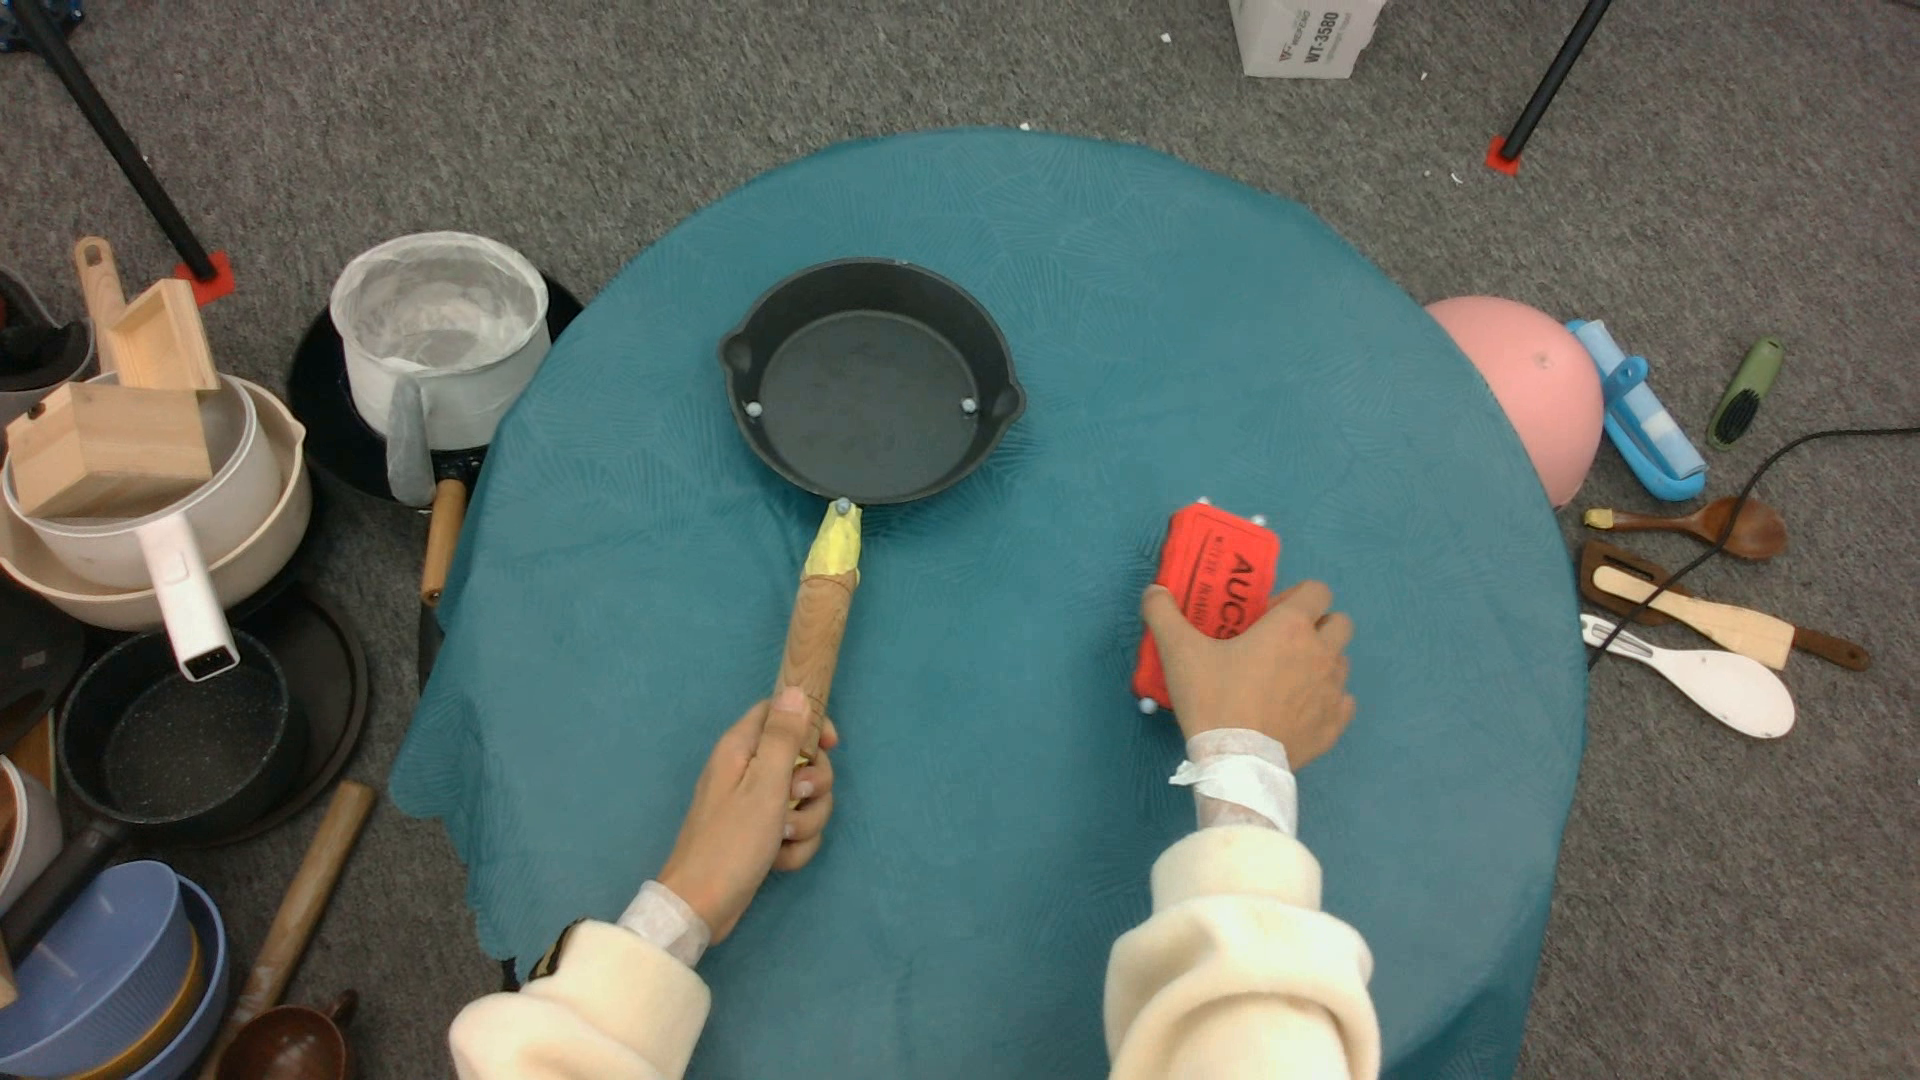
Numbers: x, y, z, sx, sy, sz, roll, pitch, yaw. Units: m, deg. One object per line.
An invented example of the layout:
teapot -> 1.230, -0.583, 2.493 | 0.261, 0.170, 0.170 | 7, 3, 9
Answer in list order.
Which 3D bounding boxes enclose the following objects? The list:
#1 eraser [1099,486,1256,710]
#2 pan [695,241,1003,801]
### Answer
eraser -> 0.113, 0.030, 0.712 | 0.059, 0.023, 0.108 | 23, 73, -16
pan -> -0.073, -0.020, 0.710 | 0.169, 0.049, 0.325 | 12, 62, -2
